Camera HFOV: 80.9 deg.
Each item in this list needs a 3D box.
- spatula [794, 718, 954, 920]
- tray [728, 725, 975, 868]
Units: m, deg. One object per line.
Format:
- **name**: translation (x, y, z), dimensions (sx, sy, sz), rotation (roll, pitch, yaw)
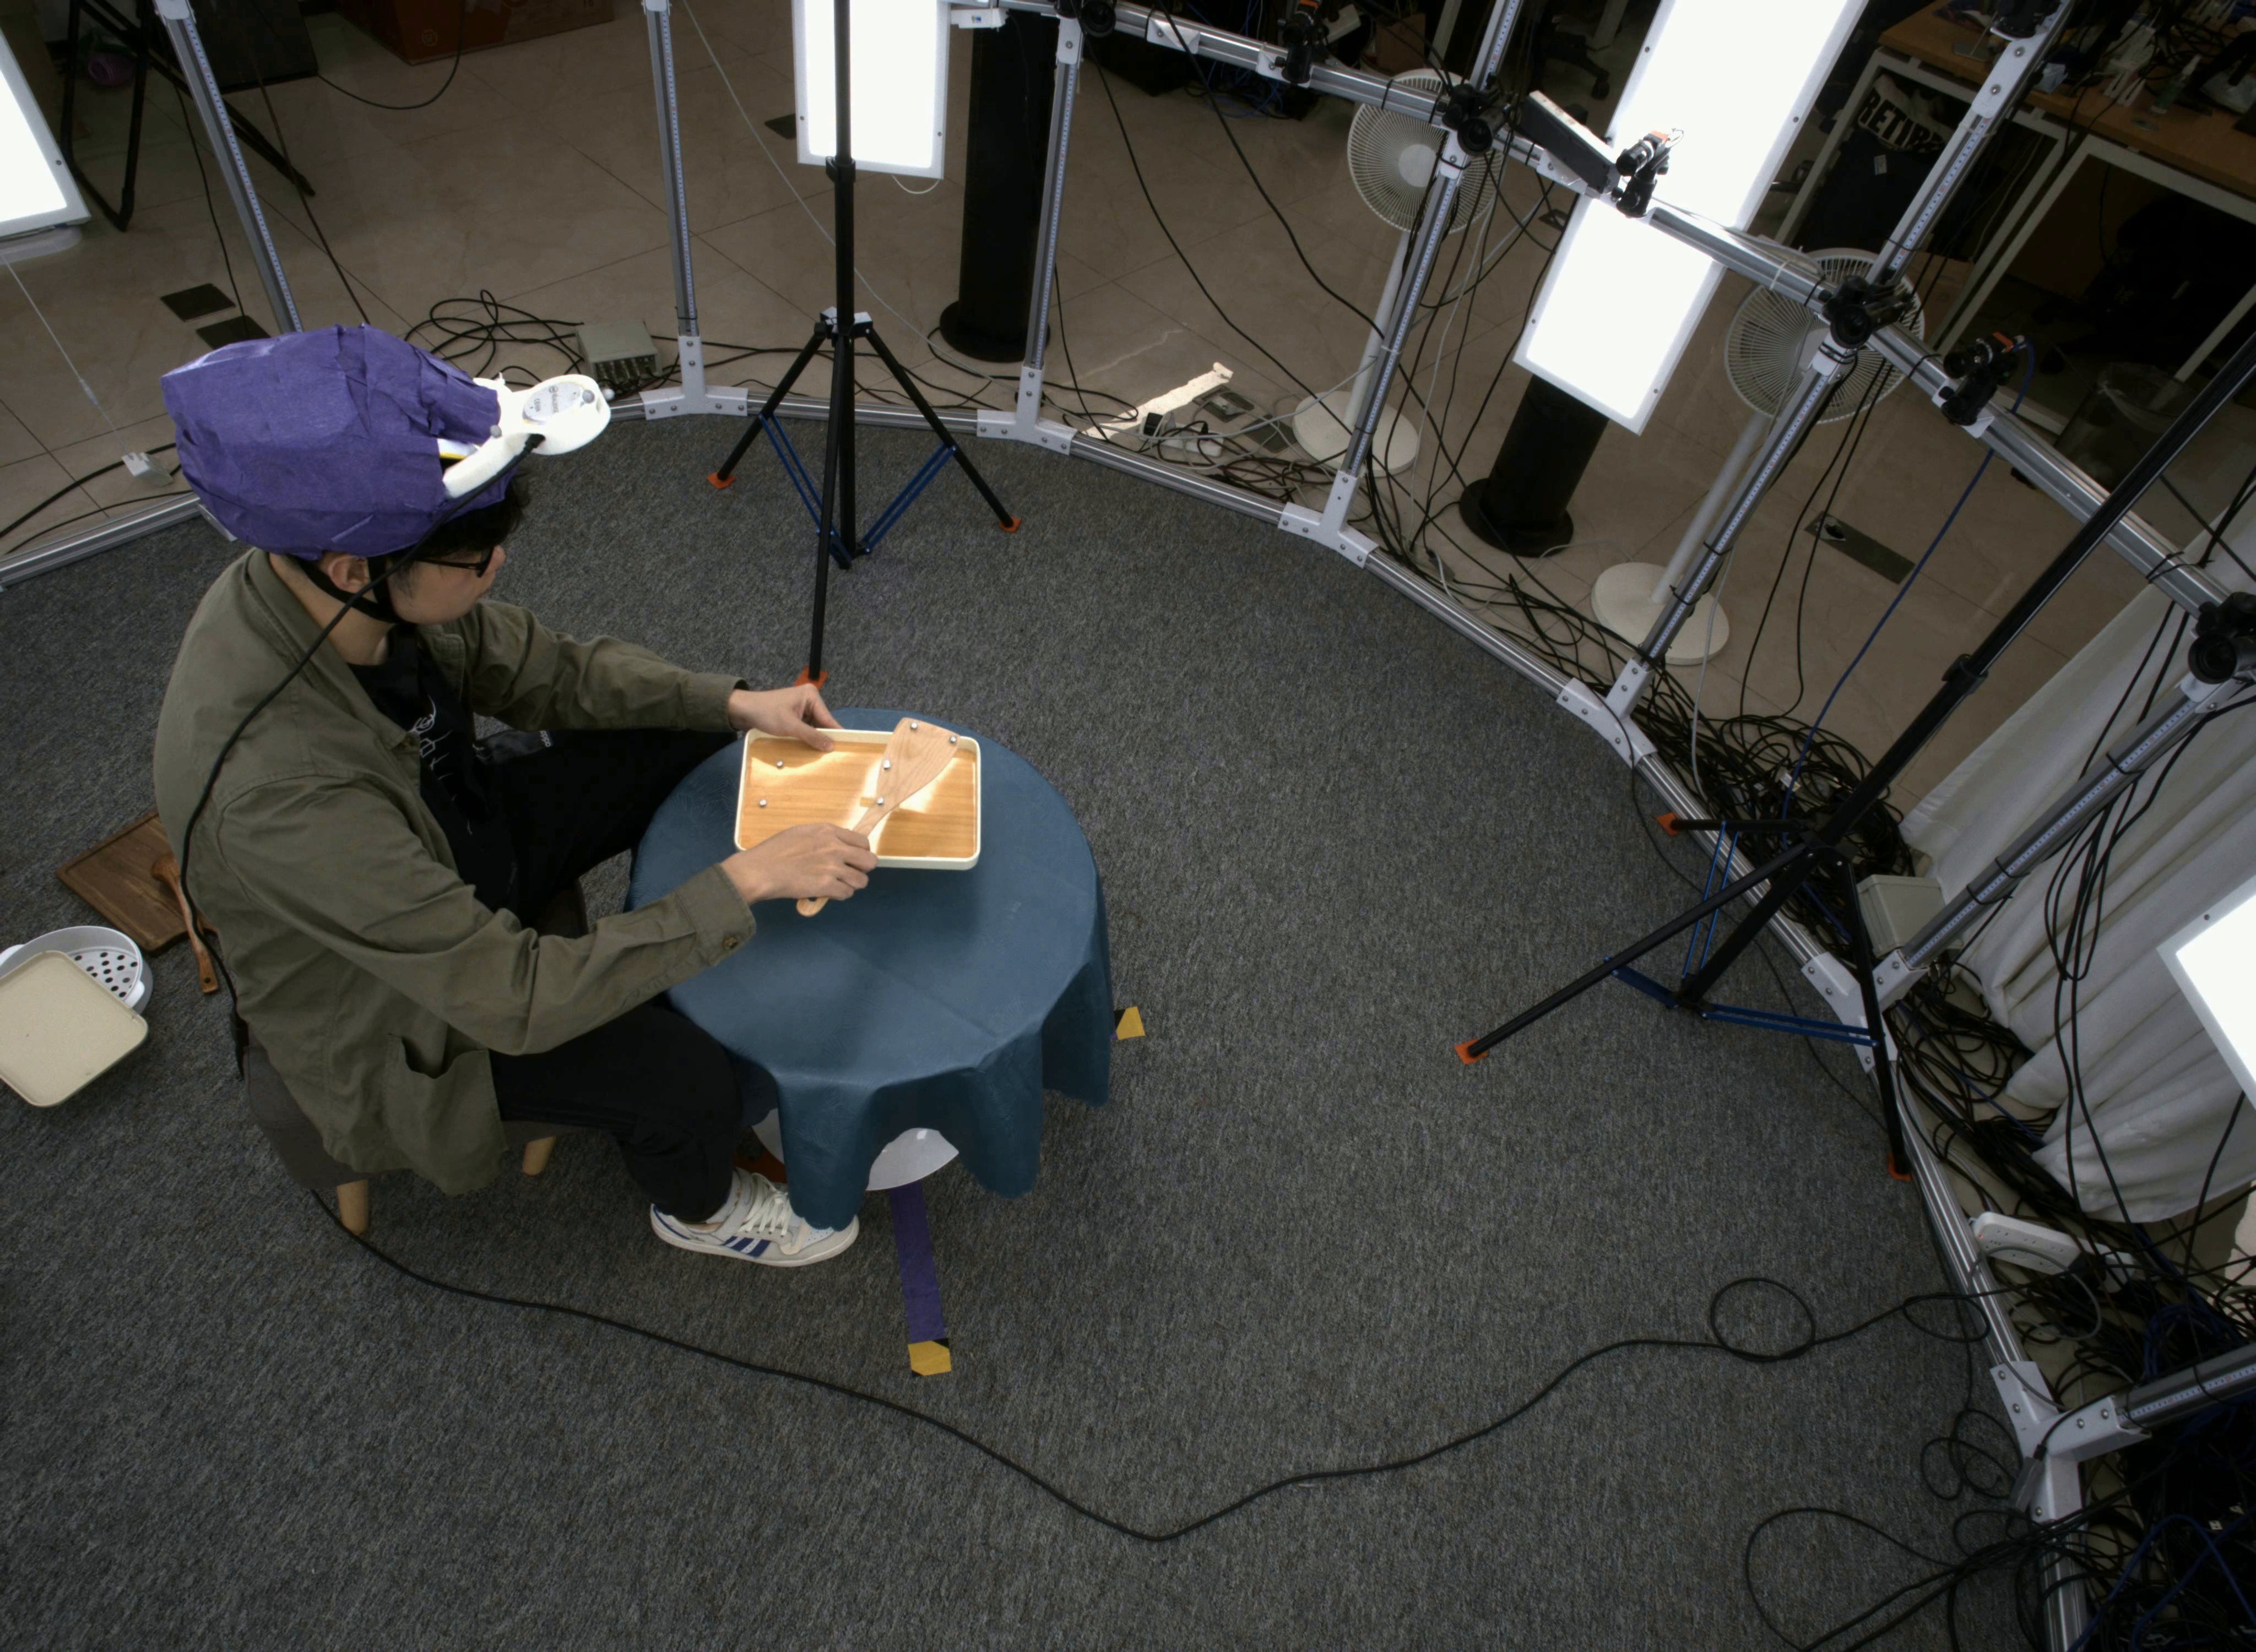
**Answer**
- **spatula**: translation (-0.302, -0.015, 1.510), dimensions (0.079, 0.017, 0.324), rotation (28, 49, -2)
- **tray**: translation (-0.345, -0.039, 1.646), dimensions (0.300, 0.028, 0.188), rotation (3, 58, -11)
